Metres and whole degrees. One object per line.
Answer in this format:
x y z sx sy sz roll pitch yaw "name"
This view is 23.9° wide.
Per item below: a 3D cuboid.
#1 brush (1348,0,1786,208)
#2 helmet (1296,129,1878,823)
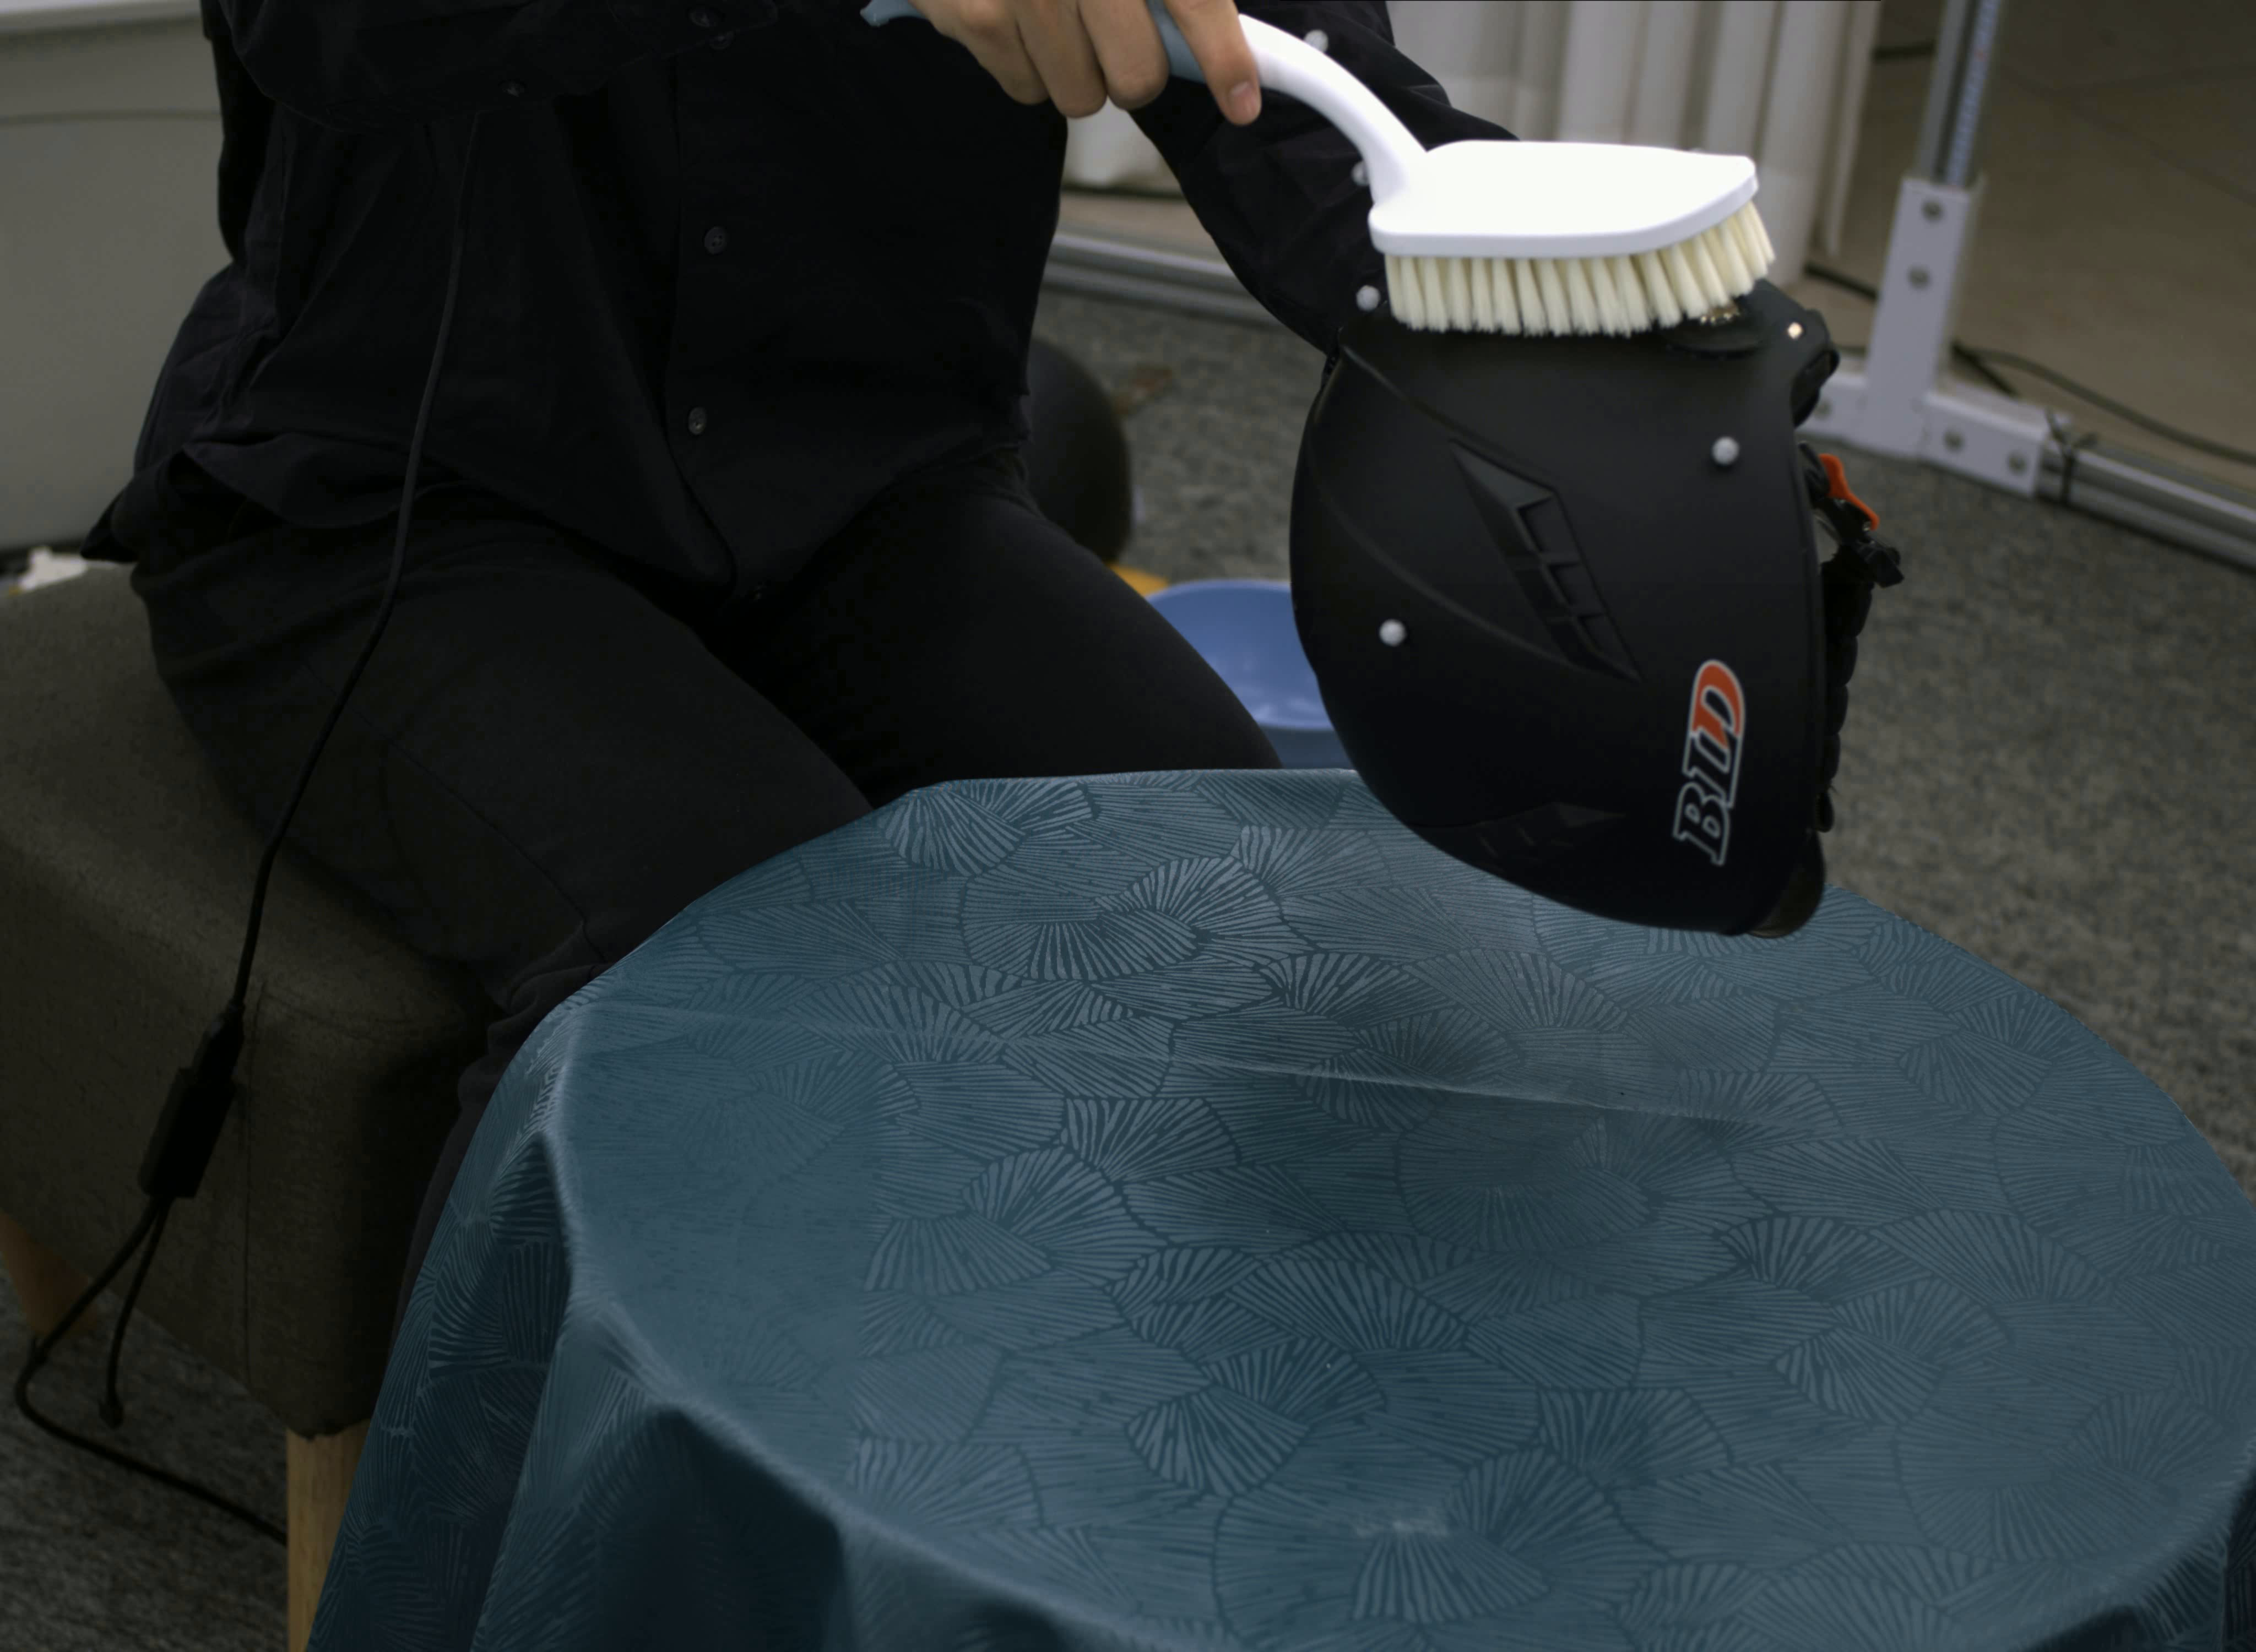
0.067 -0.261 1.797 0.326 0.085 0.082 16 1 21 "brush"
0.149 -0.127 1.816 0.171 0.246 0.279 -3 31 -10 "helmet"
